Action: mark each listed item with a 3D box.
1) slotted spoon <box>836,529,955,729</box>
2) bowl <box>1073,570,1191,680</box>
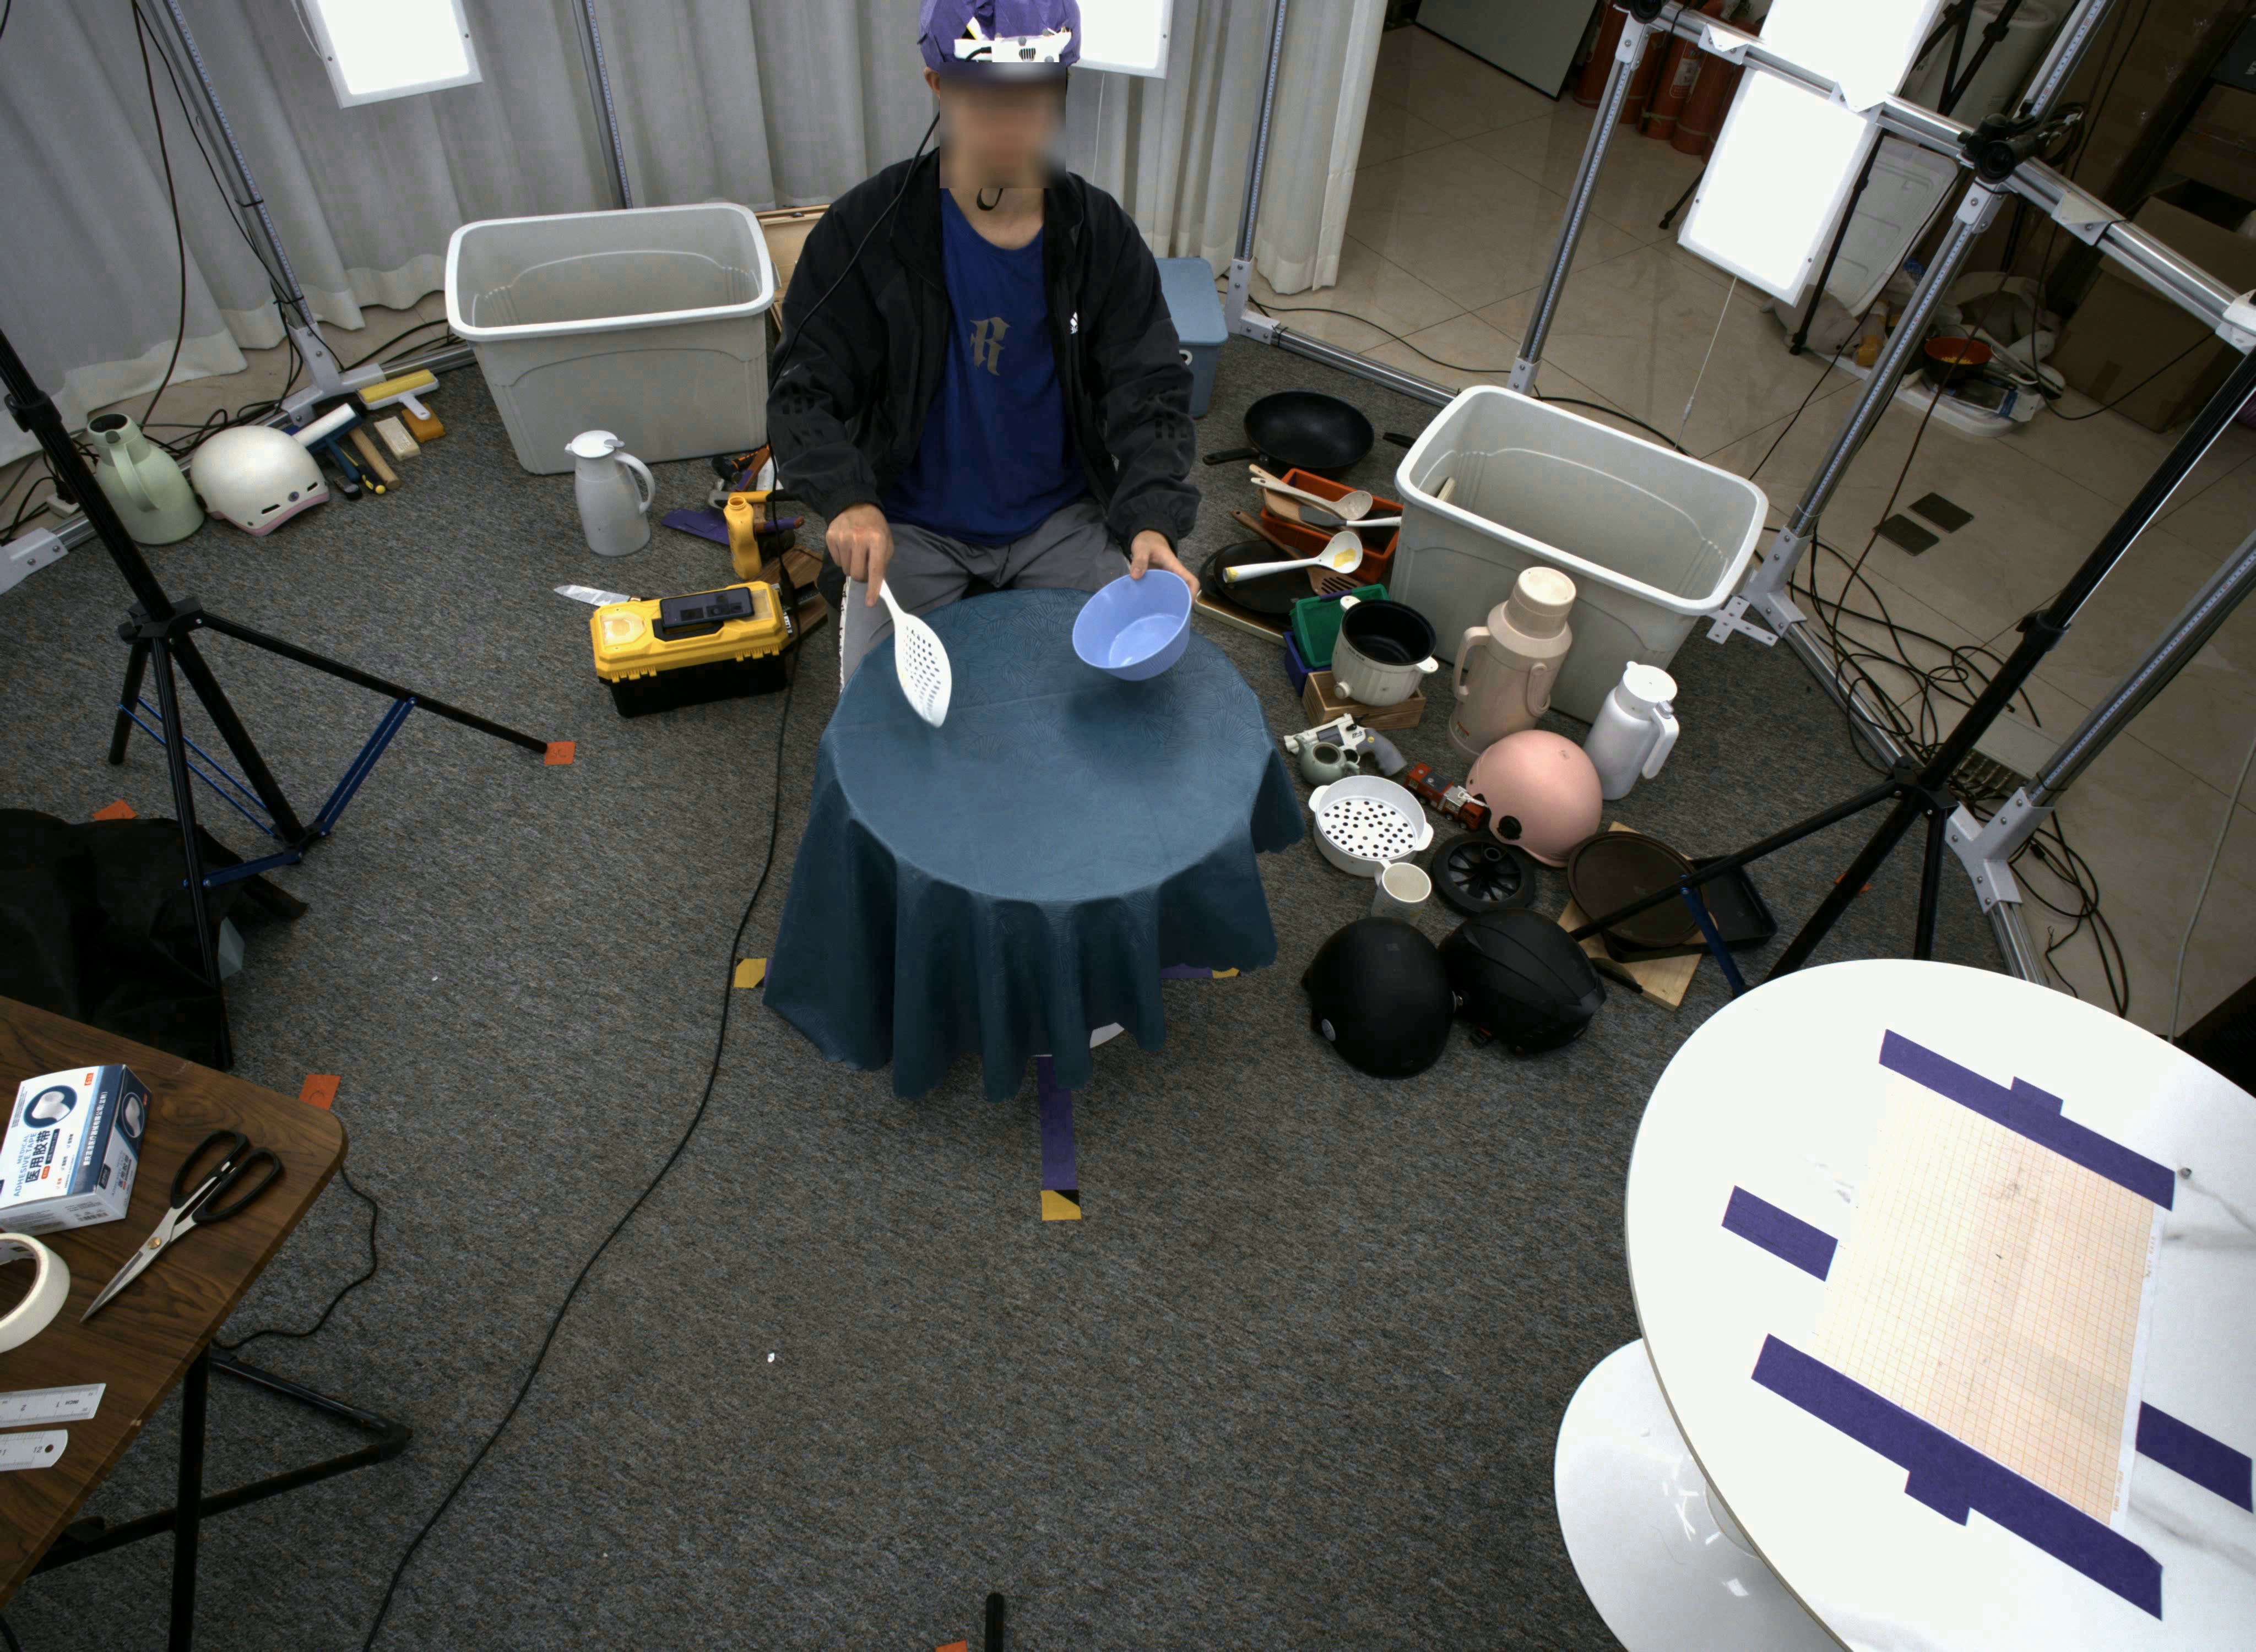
[{"bbox_3d":[-0.323,-0.282,1.779,0.050,0.134,0.355,-12,58,-25],"label":"slotted spoon"},{"bbox_3d":[0.016,-0.267,1.771,0.176,0.069,0.180,-16,49,19],"label":"bowl"}]
